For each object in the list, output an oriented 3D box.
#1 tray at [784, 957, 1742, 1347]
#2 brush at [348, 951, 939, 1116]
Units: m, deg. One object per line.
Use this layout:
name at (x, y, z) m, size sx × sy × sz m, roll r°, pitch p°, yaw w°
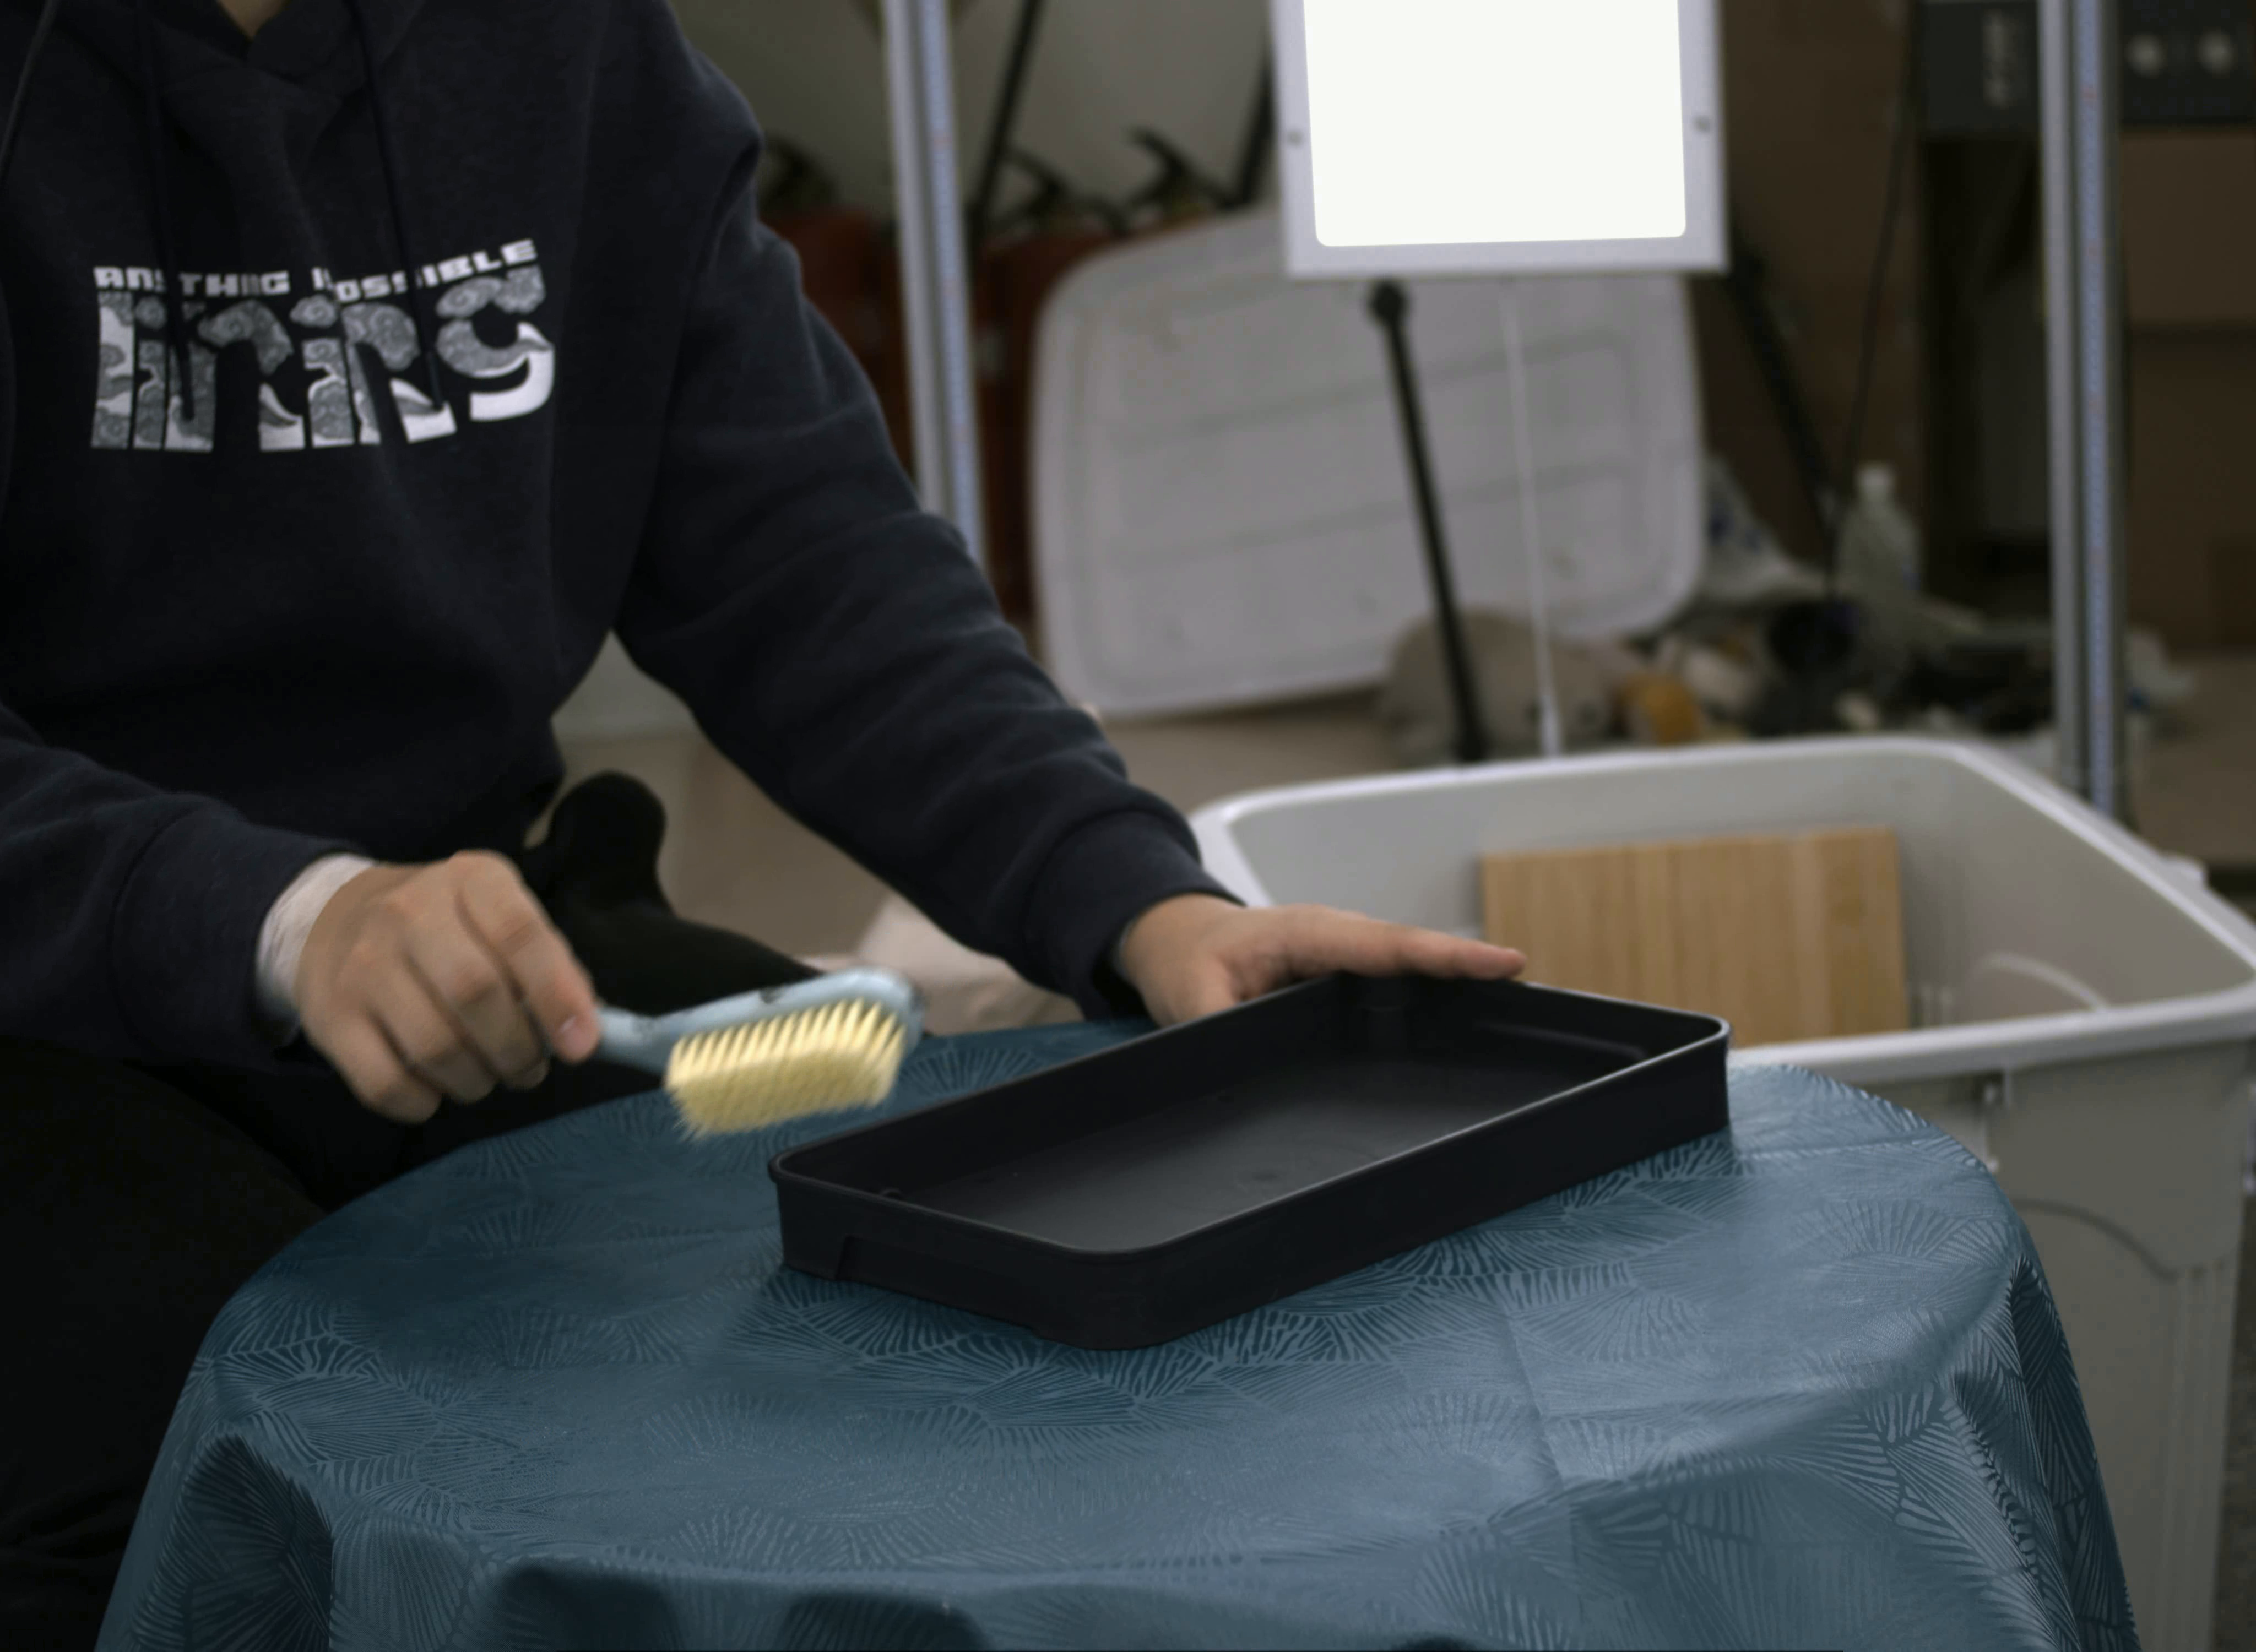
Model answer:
tray at (0.051, 0.106, 1.889) m, size 0.310 × 0.037 × 0.188 m, roll -17°, pitch 18°, yaw -42°
brush at (-0.162, 0.069, 1.778) m, size 0.233 × 0.037 × 0.049 m, roll -2°, pitch 52°, yaw 34°
